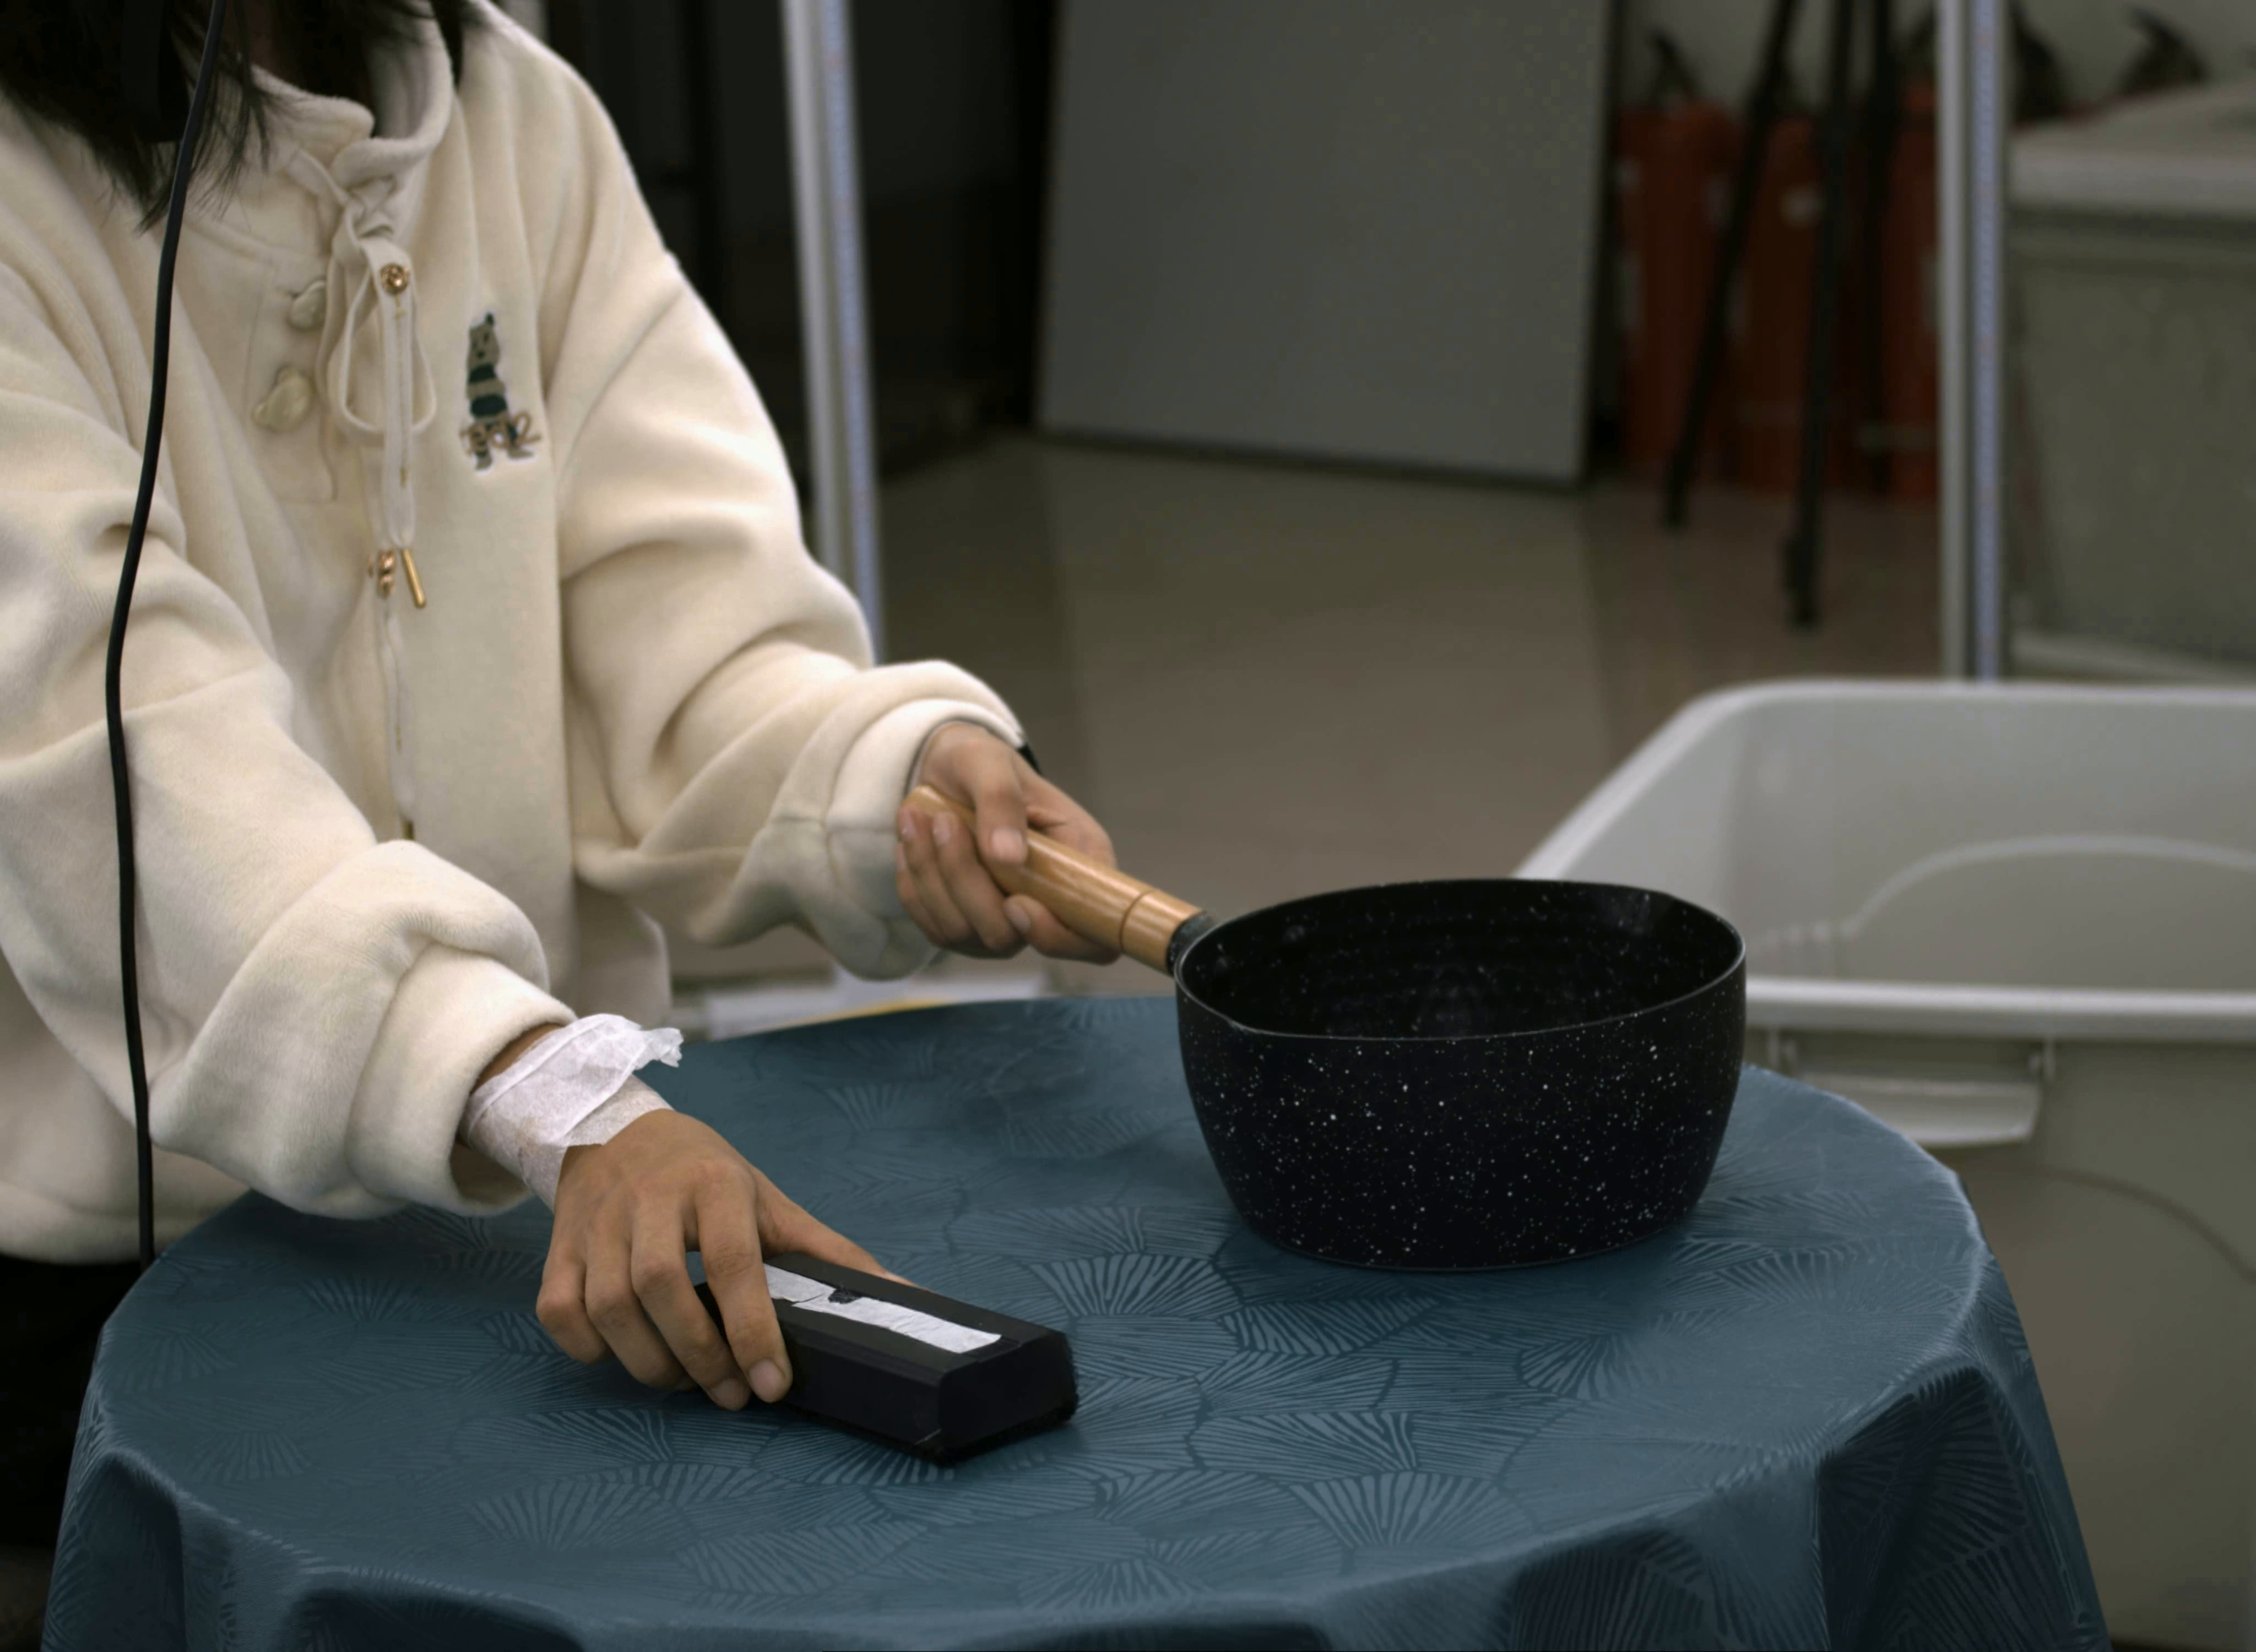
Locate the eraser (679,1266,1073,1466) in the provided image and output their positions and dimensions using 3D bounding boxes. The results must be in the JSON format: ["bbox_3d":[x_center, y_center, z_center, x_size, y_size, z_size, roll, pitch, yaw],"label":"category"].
[{"bbox_3d":[-0.074,0.157,1.588,0.052,0.031,0.127,-15,16,-39],"label":"eraser"}]

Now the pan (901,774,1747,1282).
[{"bbox_3d":[0.049,0.059,1.777,0.346,0.109,0.203,11,21,42],"label":"pan"}]
